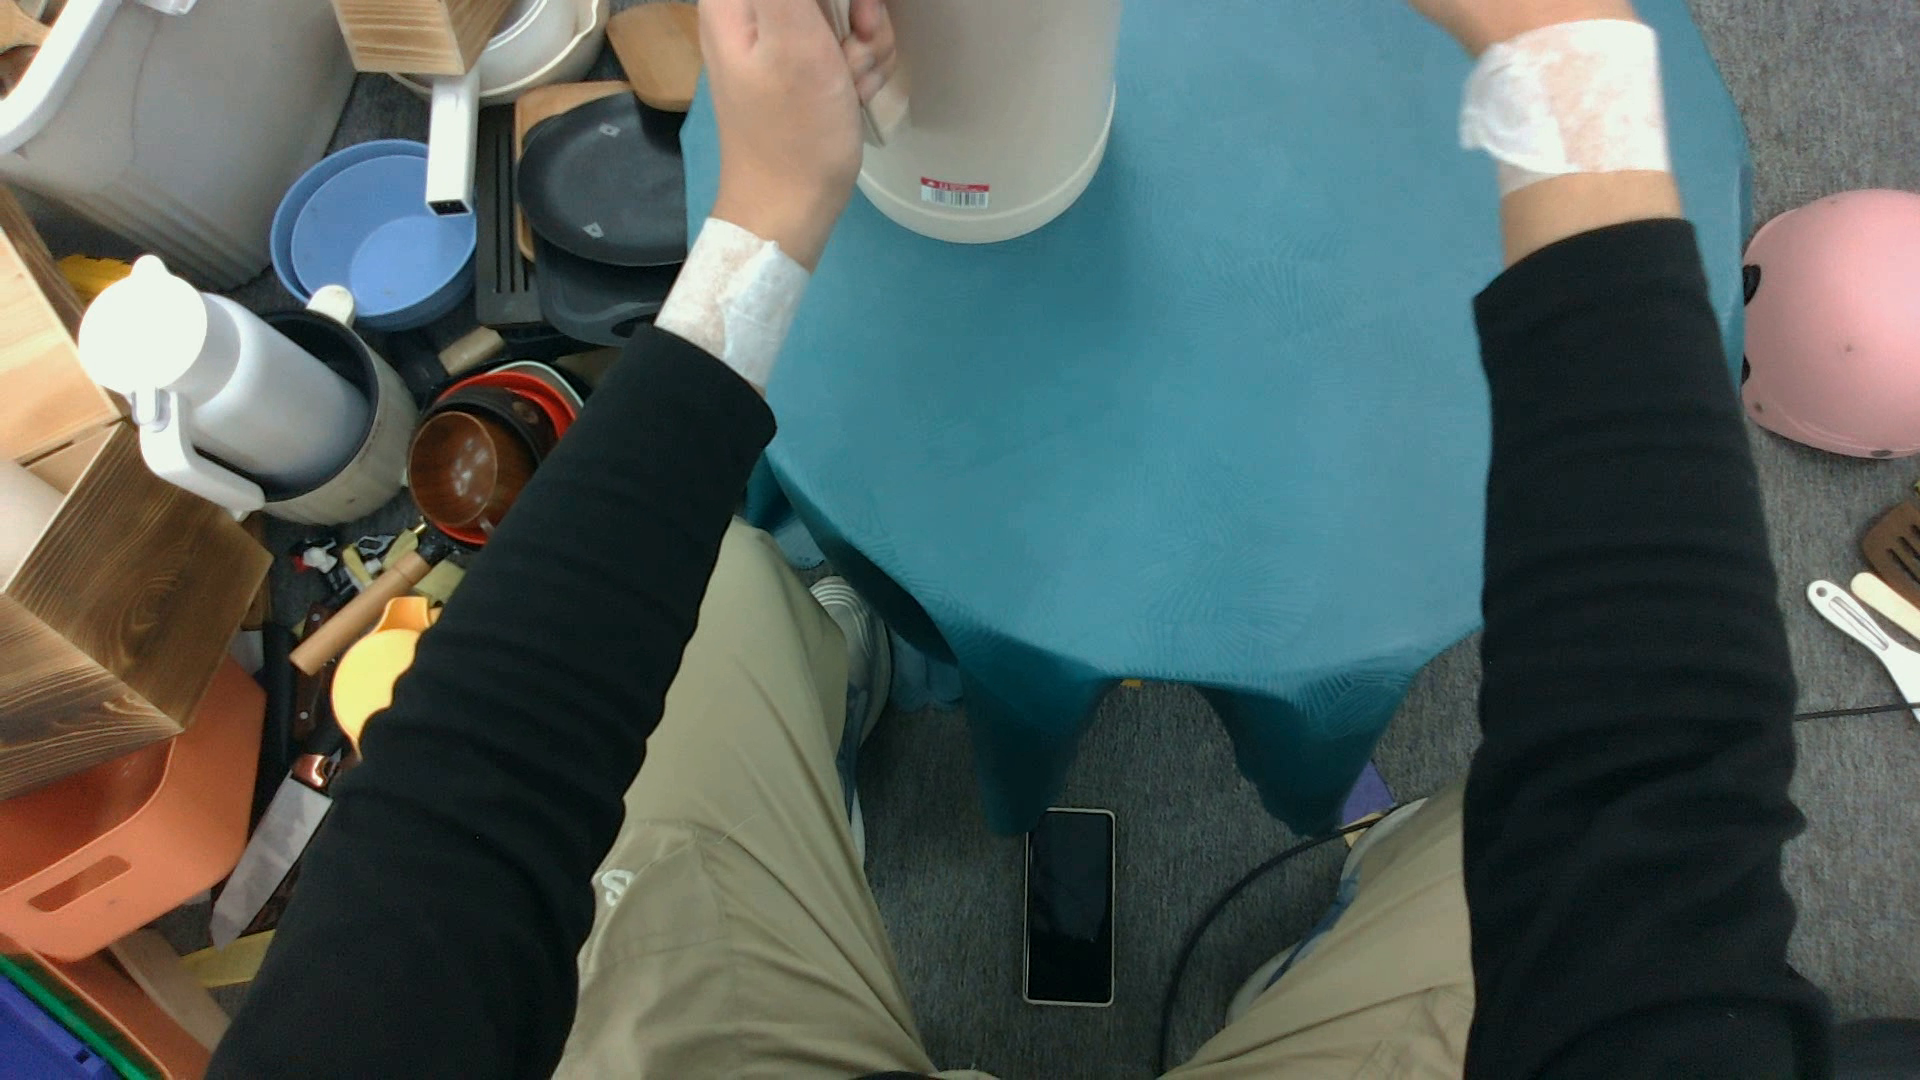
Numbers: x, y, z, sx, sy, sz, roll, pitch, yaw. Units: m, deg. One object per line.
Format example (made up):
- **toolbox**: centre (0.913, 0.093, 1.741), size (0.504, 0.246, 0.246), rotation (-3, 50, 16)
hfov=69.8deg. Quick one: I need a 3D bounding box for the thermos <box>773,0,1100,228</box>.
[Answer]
- **thermos**: centre (-0.015, -0.283, 0.602), size (0.175, 0.405, 0.207), rotation (27, 79, 5)
